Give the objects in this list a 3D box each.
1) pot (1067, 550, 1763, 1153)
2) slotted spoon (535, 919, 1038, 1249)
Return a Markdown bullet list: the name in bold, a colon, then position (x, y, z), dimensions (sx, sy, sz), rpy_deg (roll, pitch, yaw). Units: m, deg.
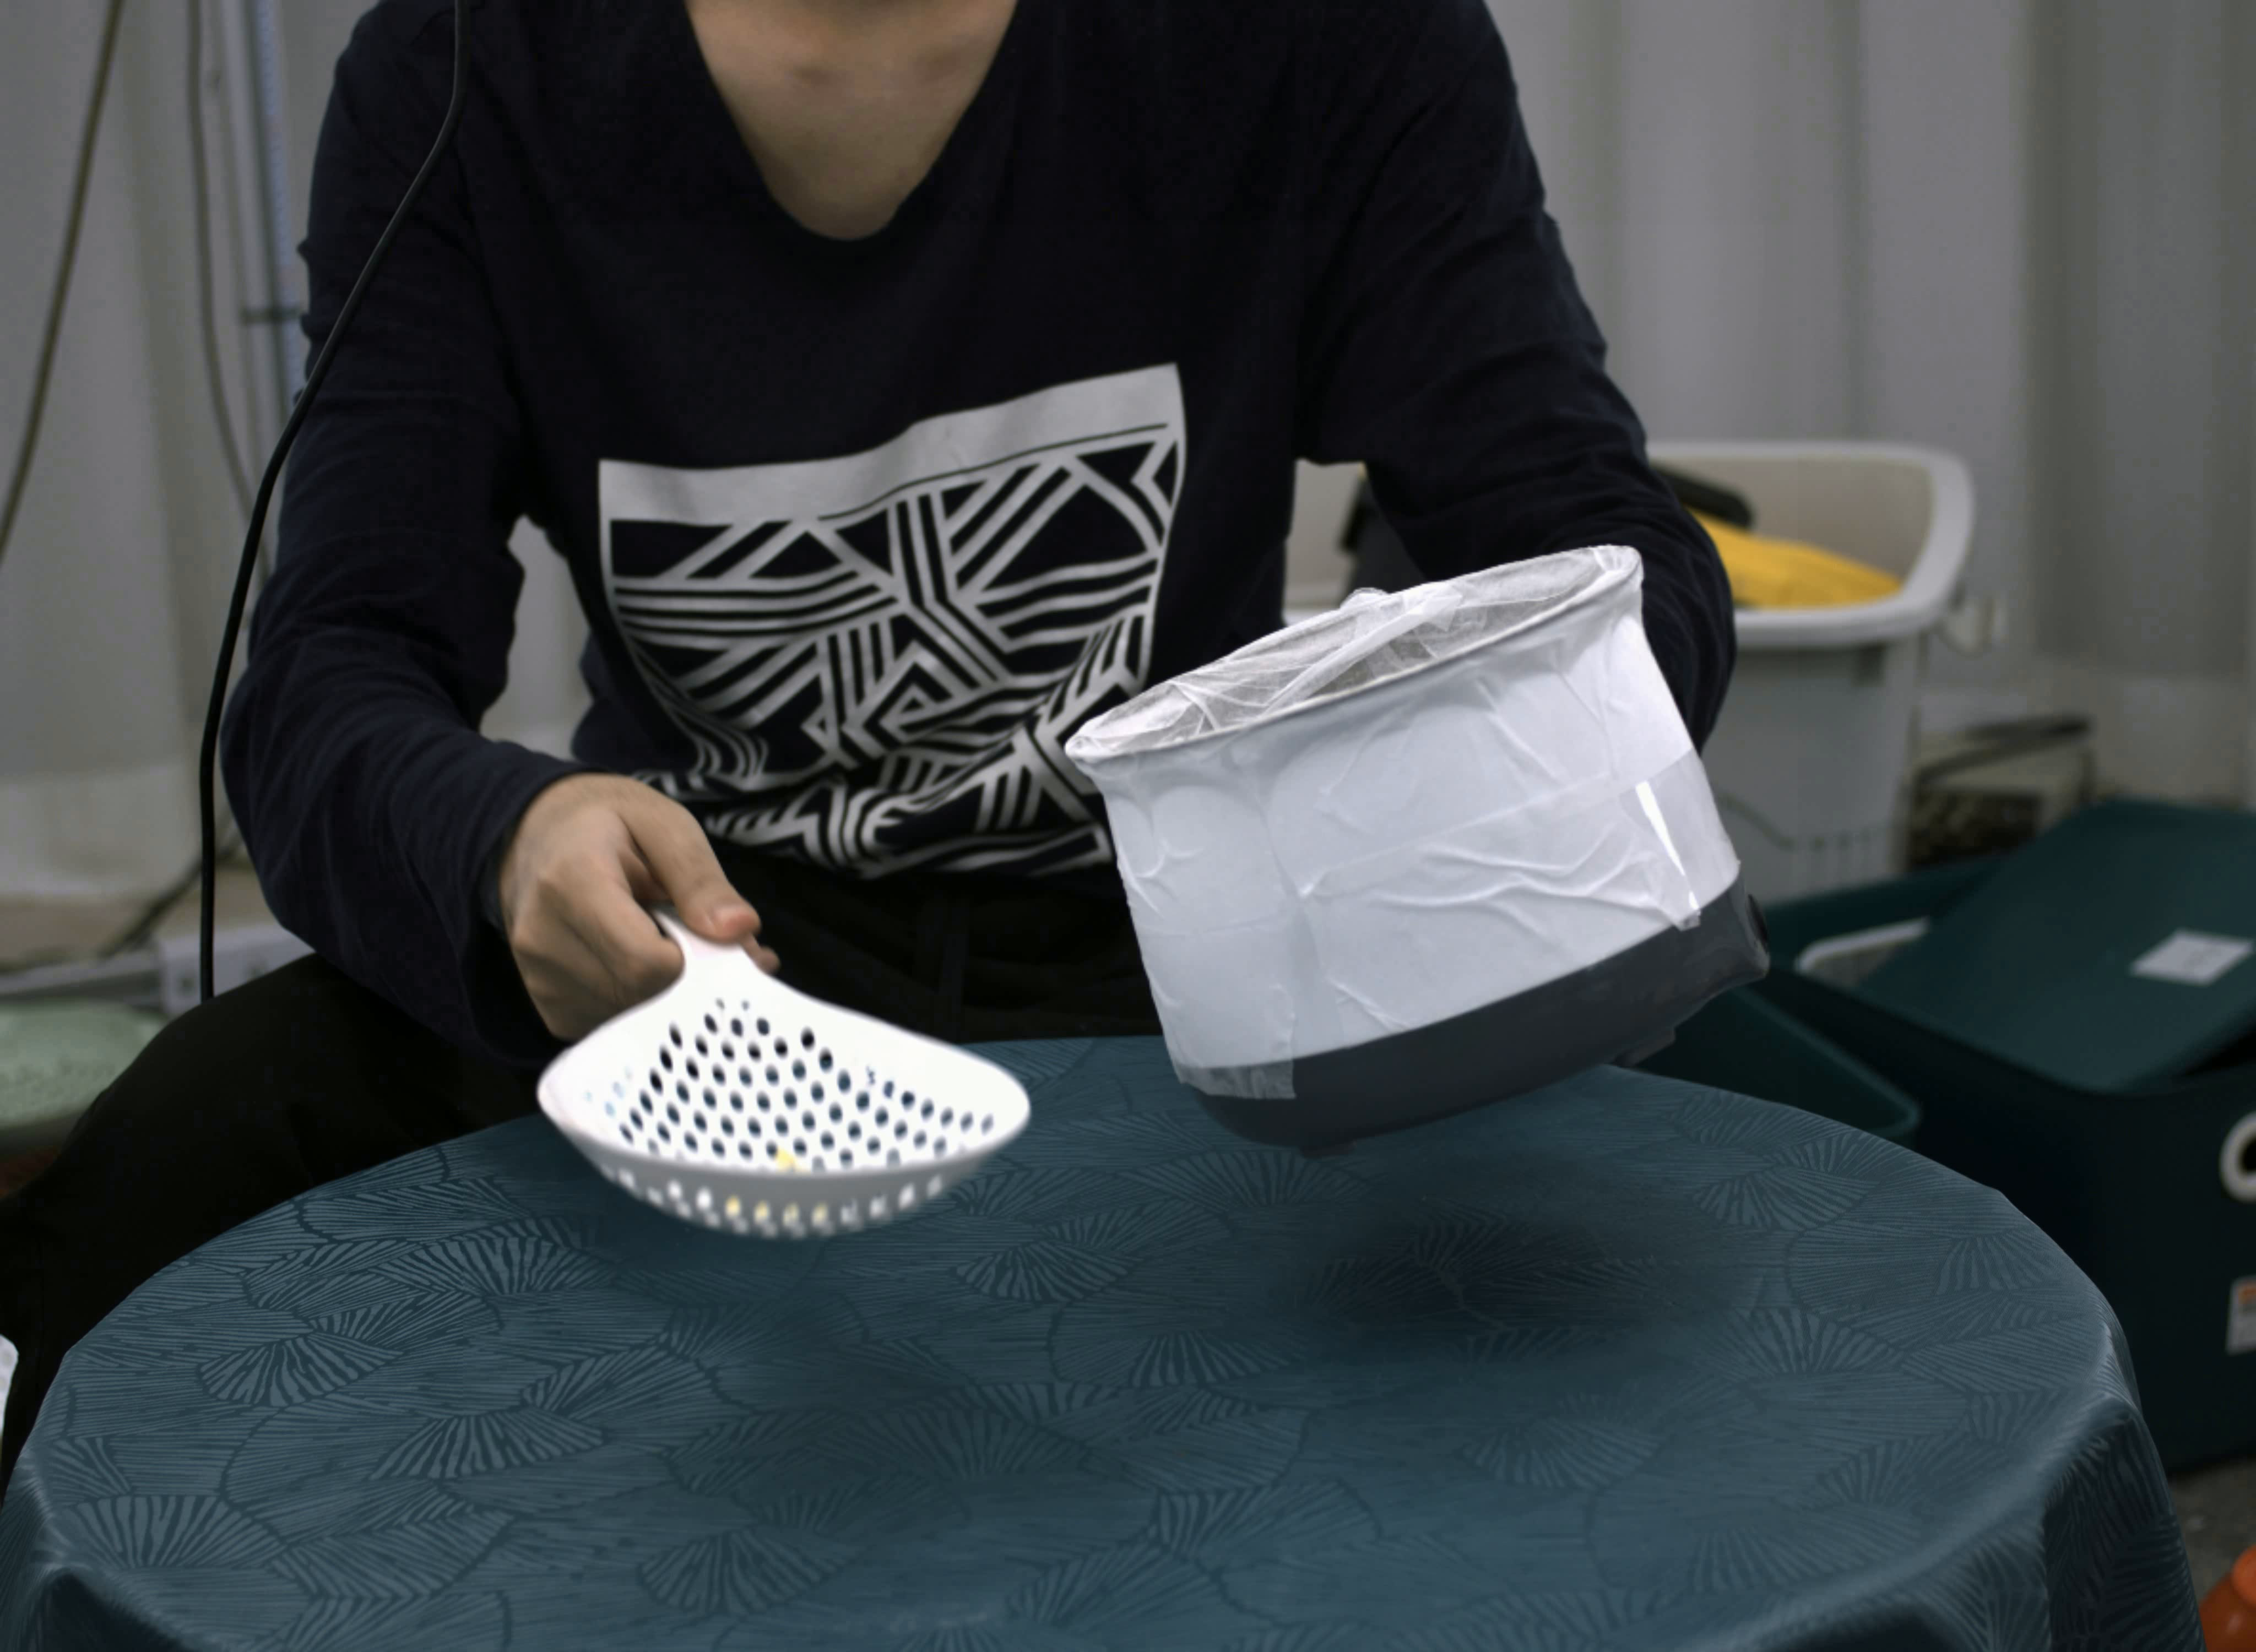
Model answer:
- **pot**: position (0.086, 0.002, 1.626), dimensions (0.178, 0.136, 0.234), rpy_deg (-16, 9, 5)
- **slotted spoon**: position (-0.118, 0.061, 1.600), dimensions (0.136, 0.050, 0.351), rpy_deg (-1, 17, -13)
